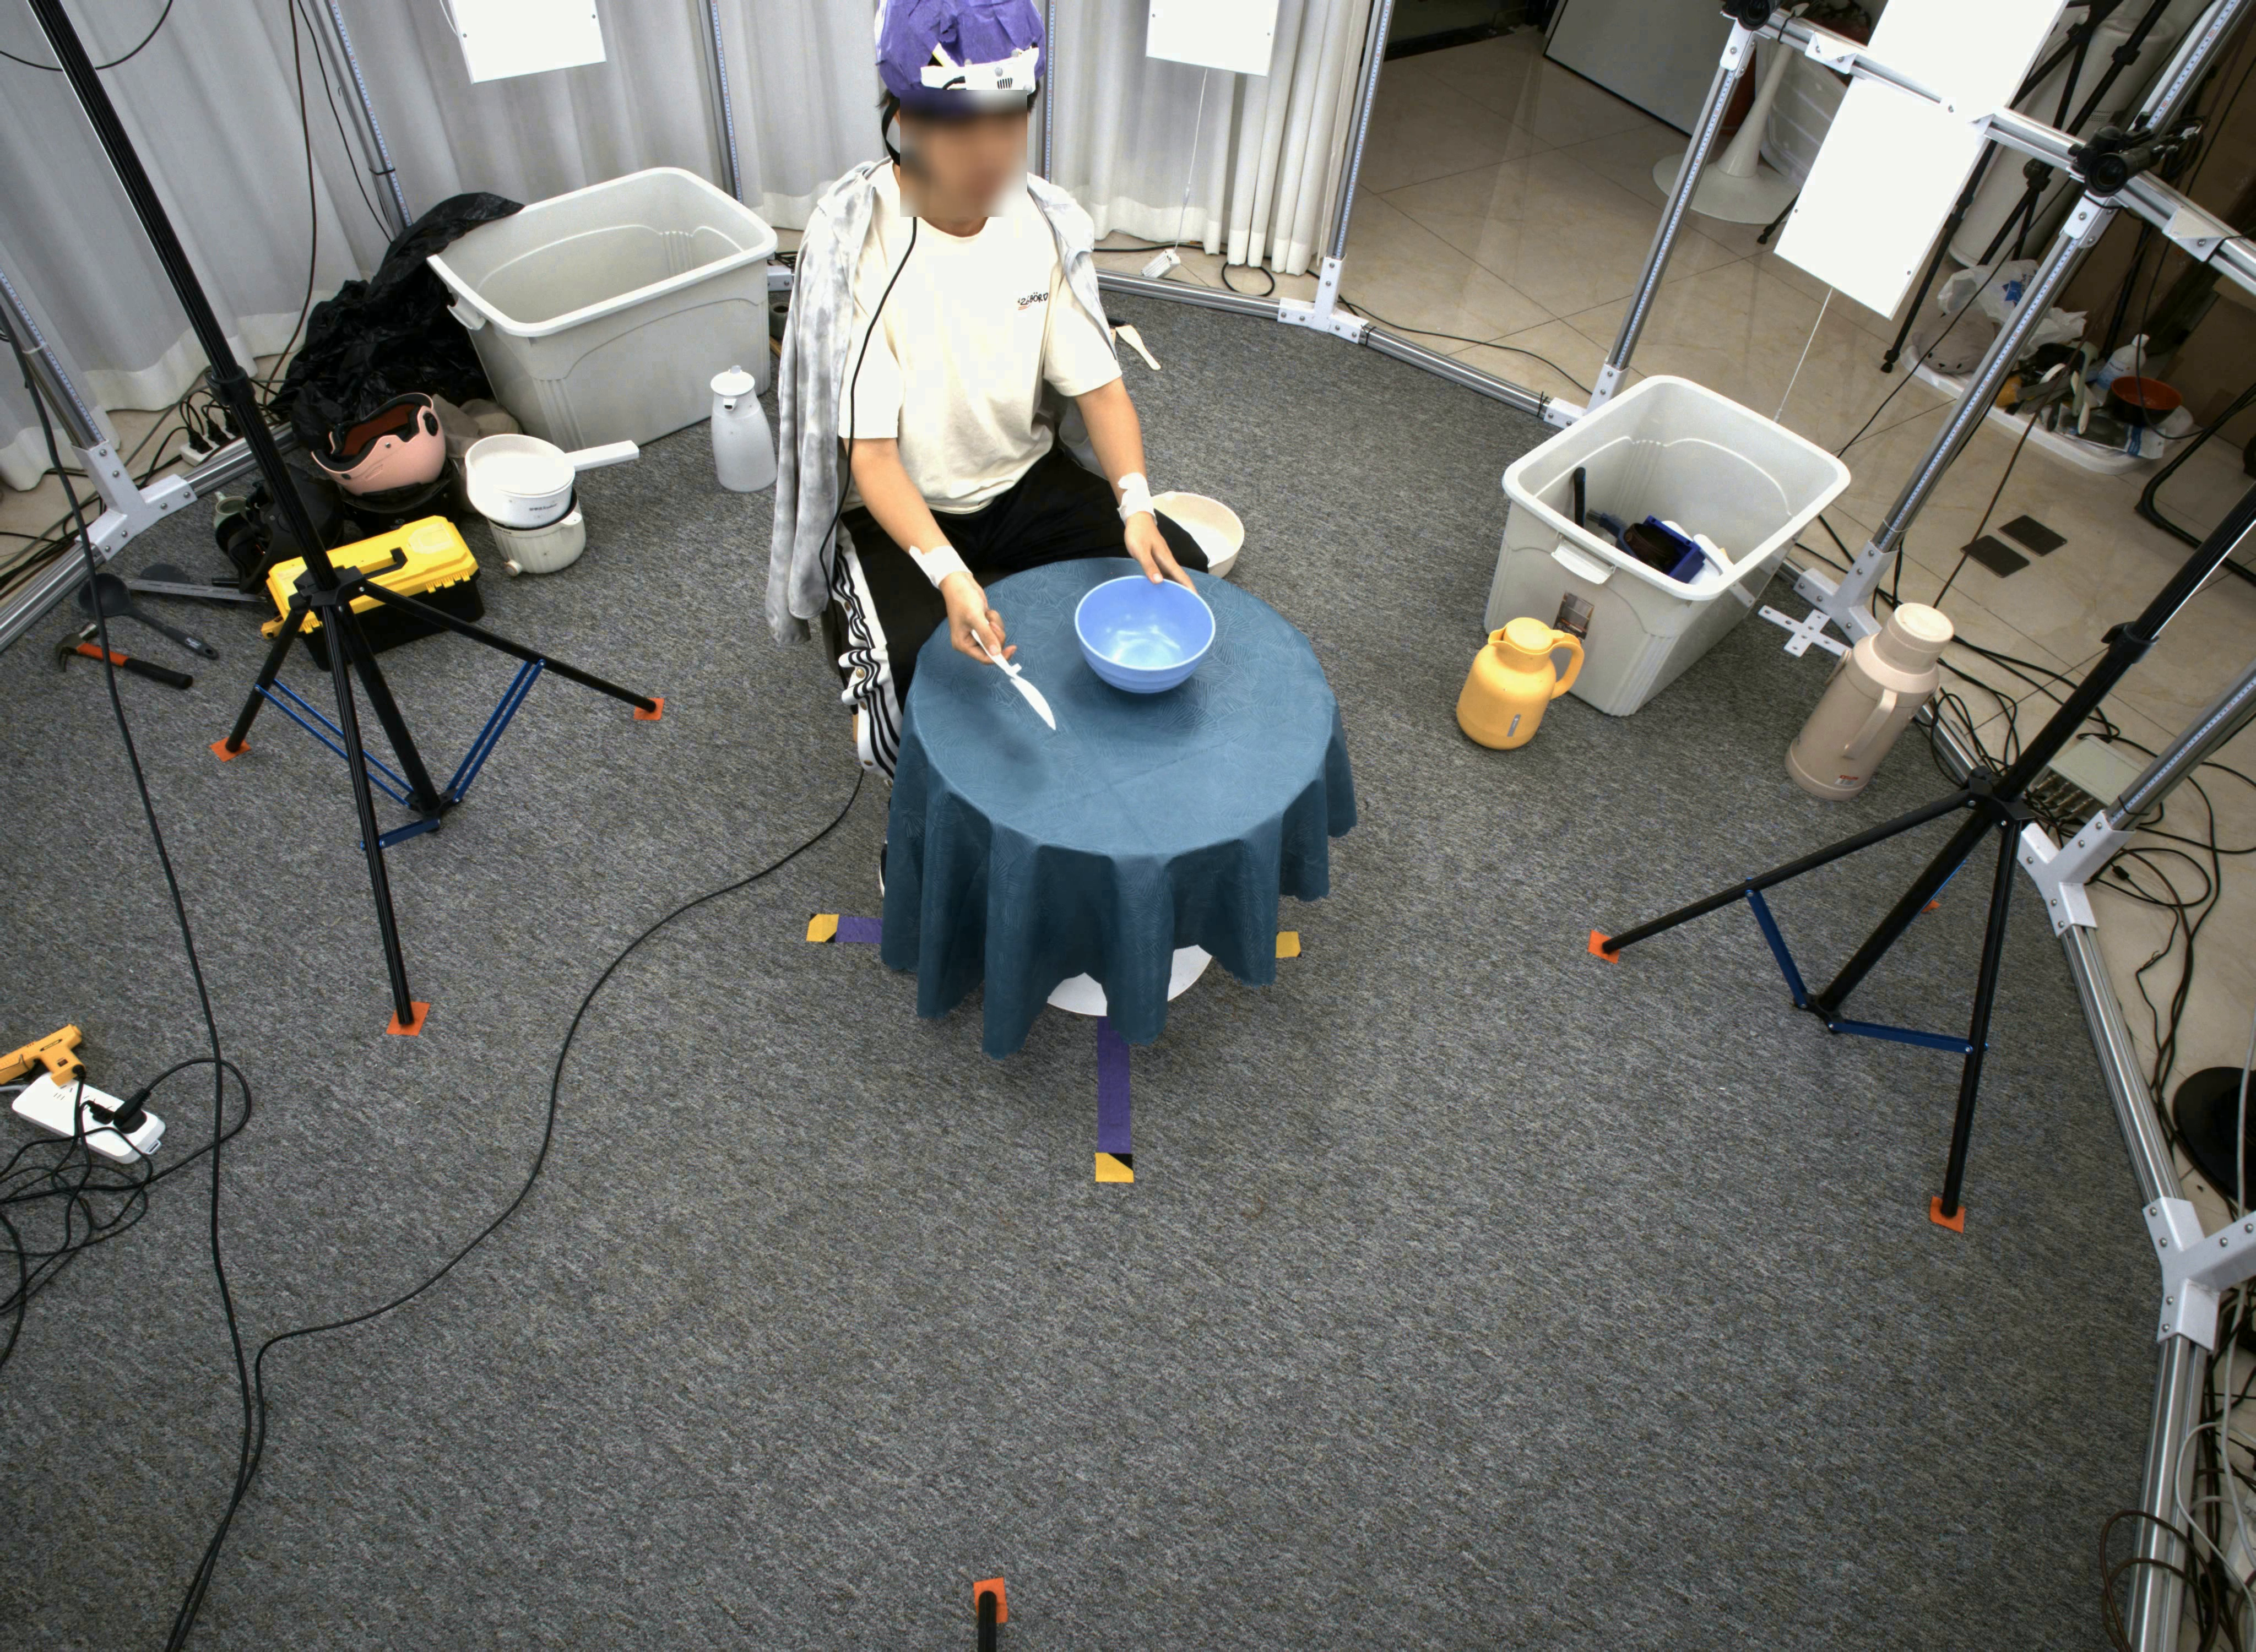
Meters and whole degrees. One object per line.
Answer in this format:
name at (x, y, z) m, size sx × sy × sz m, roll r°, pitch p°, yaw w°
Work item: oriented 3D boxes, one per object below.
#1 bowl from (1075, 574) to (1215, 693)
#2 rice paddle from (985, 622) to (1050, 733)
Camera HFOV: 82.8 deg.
bowl at (0.022, -0.259, 1.824) m, size 0.196 × 0.093 × 0.201 m, roll 2°, pitch 51°, yaw -2°
rice paddle at (-0.145, -0.198, 1.716) m, size 0.029 × 0.067 × 0.210 m, roll -27°, pitch 52°, yaw -2°
